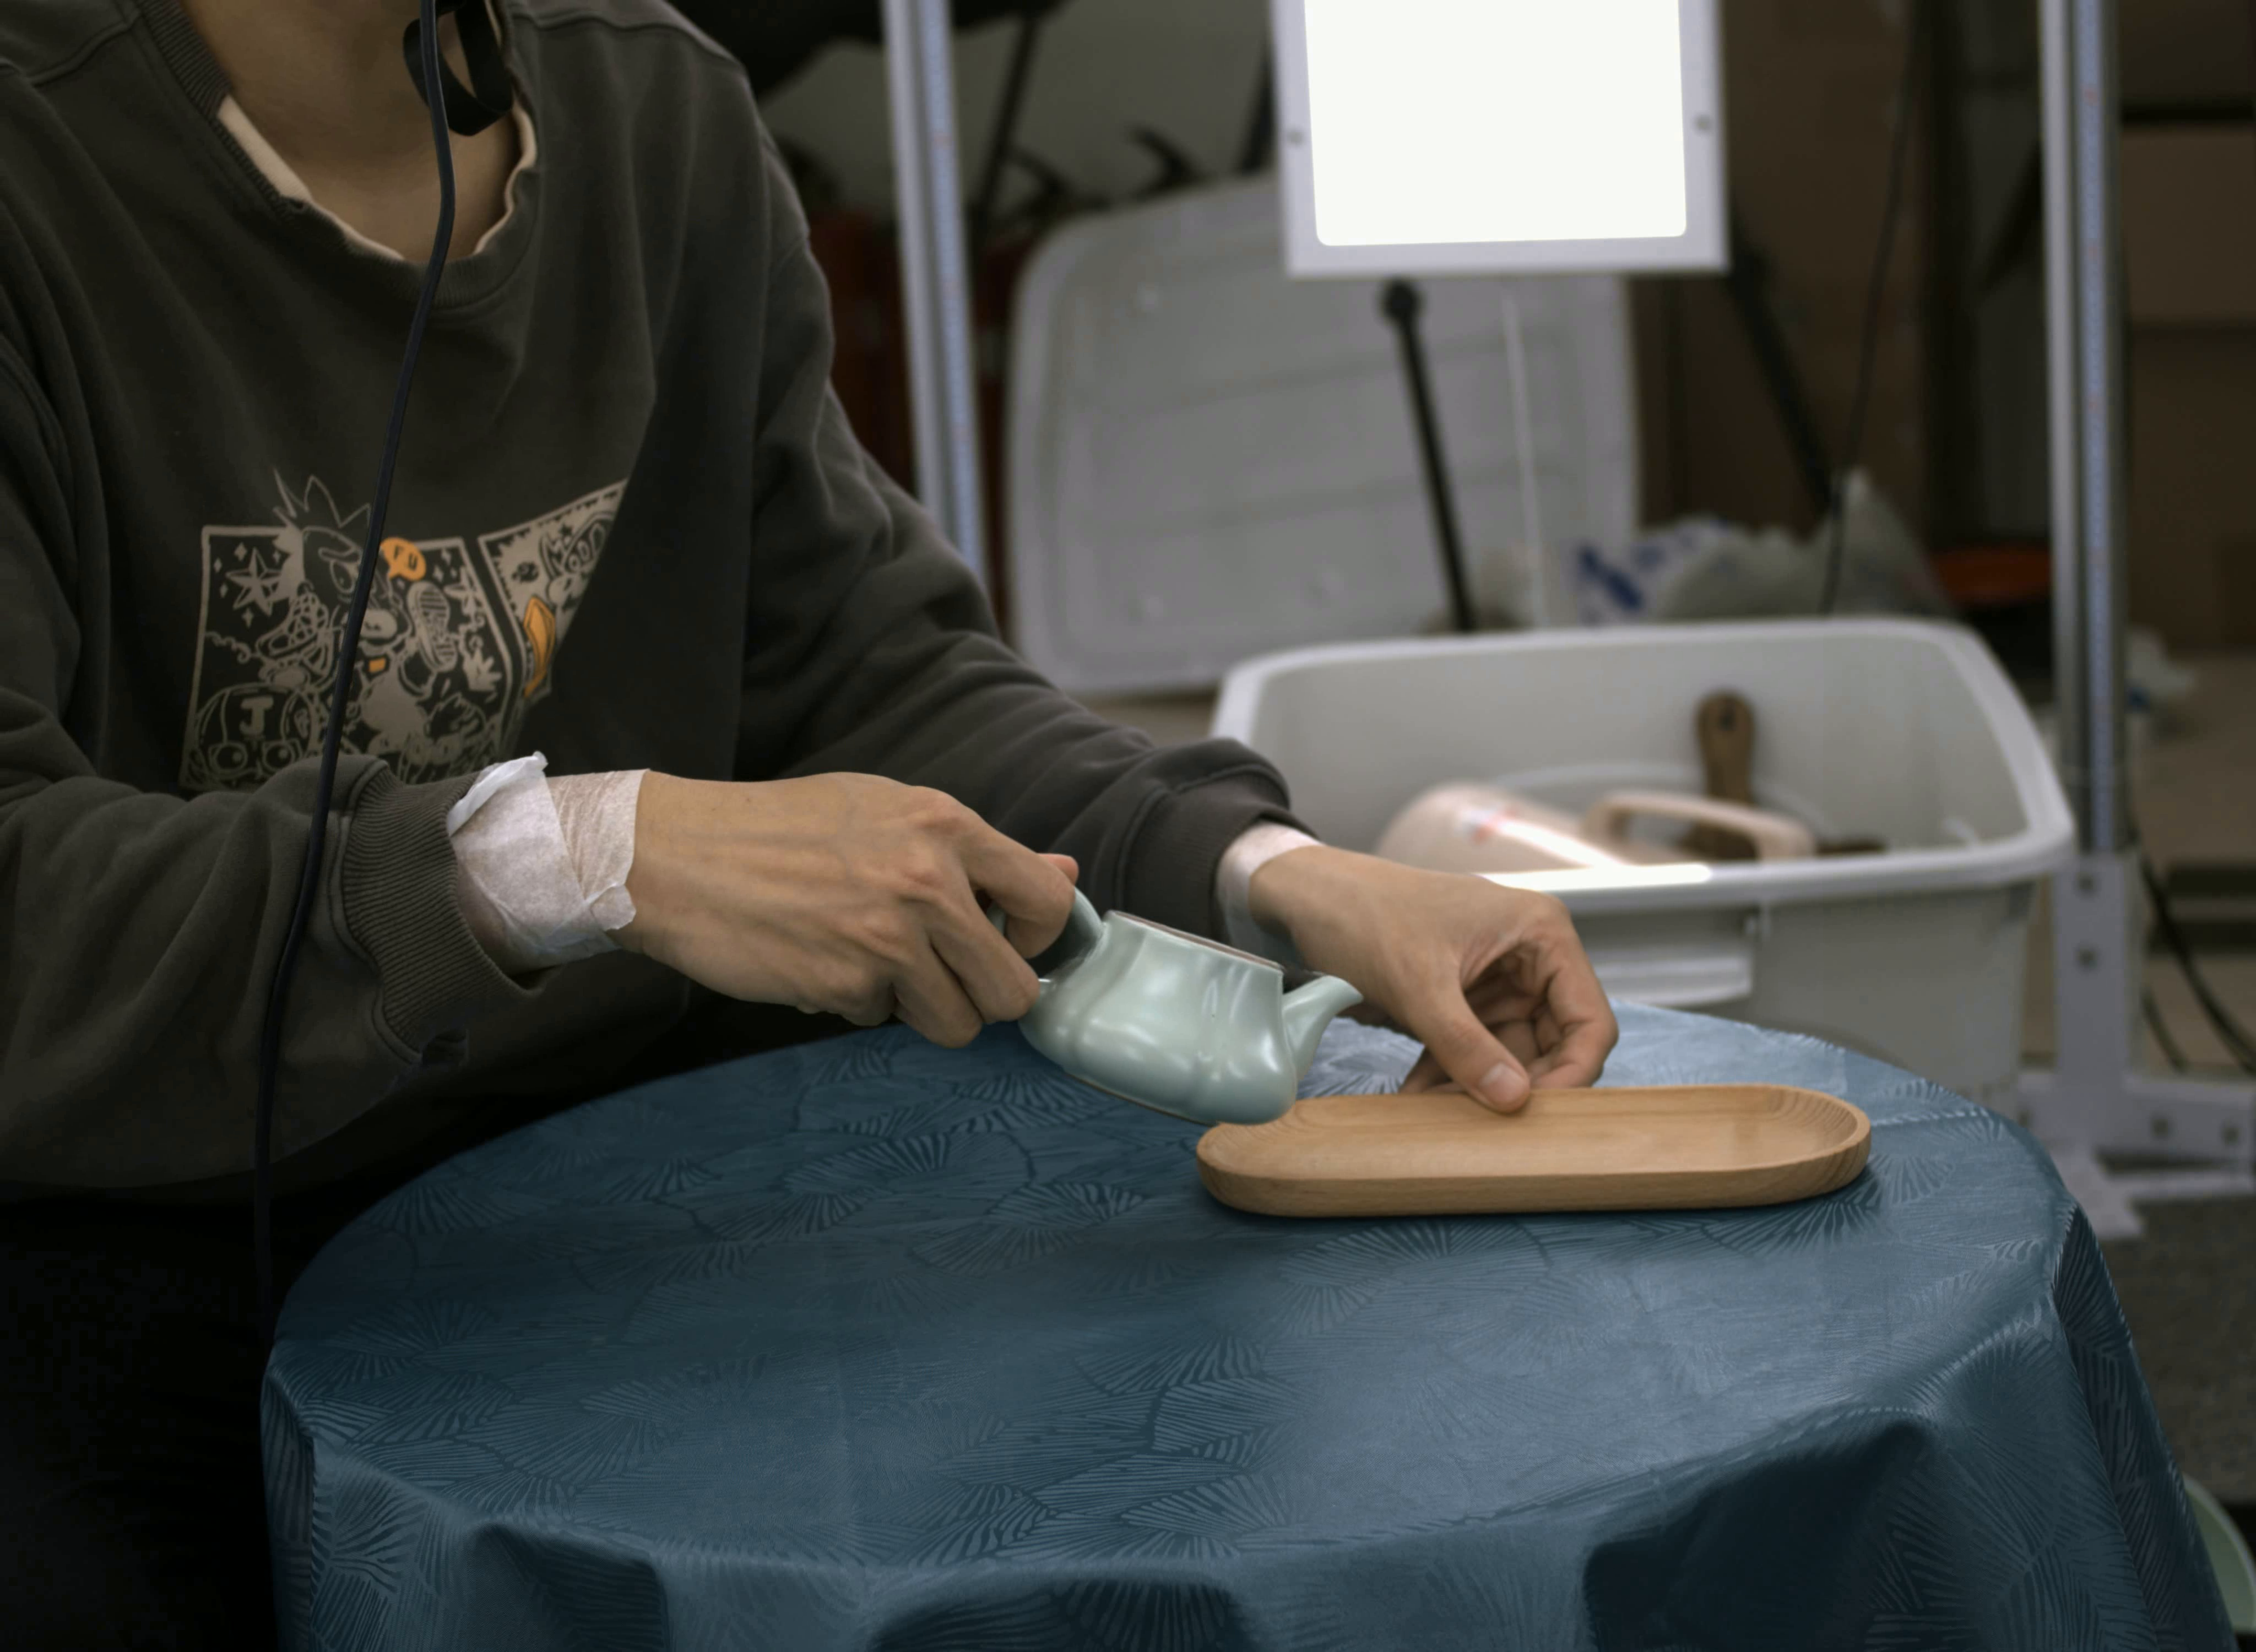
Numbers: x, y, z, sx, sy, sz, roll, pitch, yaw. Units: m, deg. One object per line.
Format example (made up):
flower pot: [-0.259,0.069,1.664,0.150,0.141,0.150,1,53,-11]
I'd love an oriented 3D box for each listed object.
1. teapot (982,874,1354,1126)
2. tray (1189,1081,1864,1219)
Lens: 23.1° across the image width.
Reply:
teapot: [0.009,0.060,1.809,0.134,0.061,0.097,19,3,-24]
tray: [0.136,0.111,1.874,0.232,0.020,0.100,-4,13,11]
